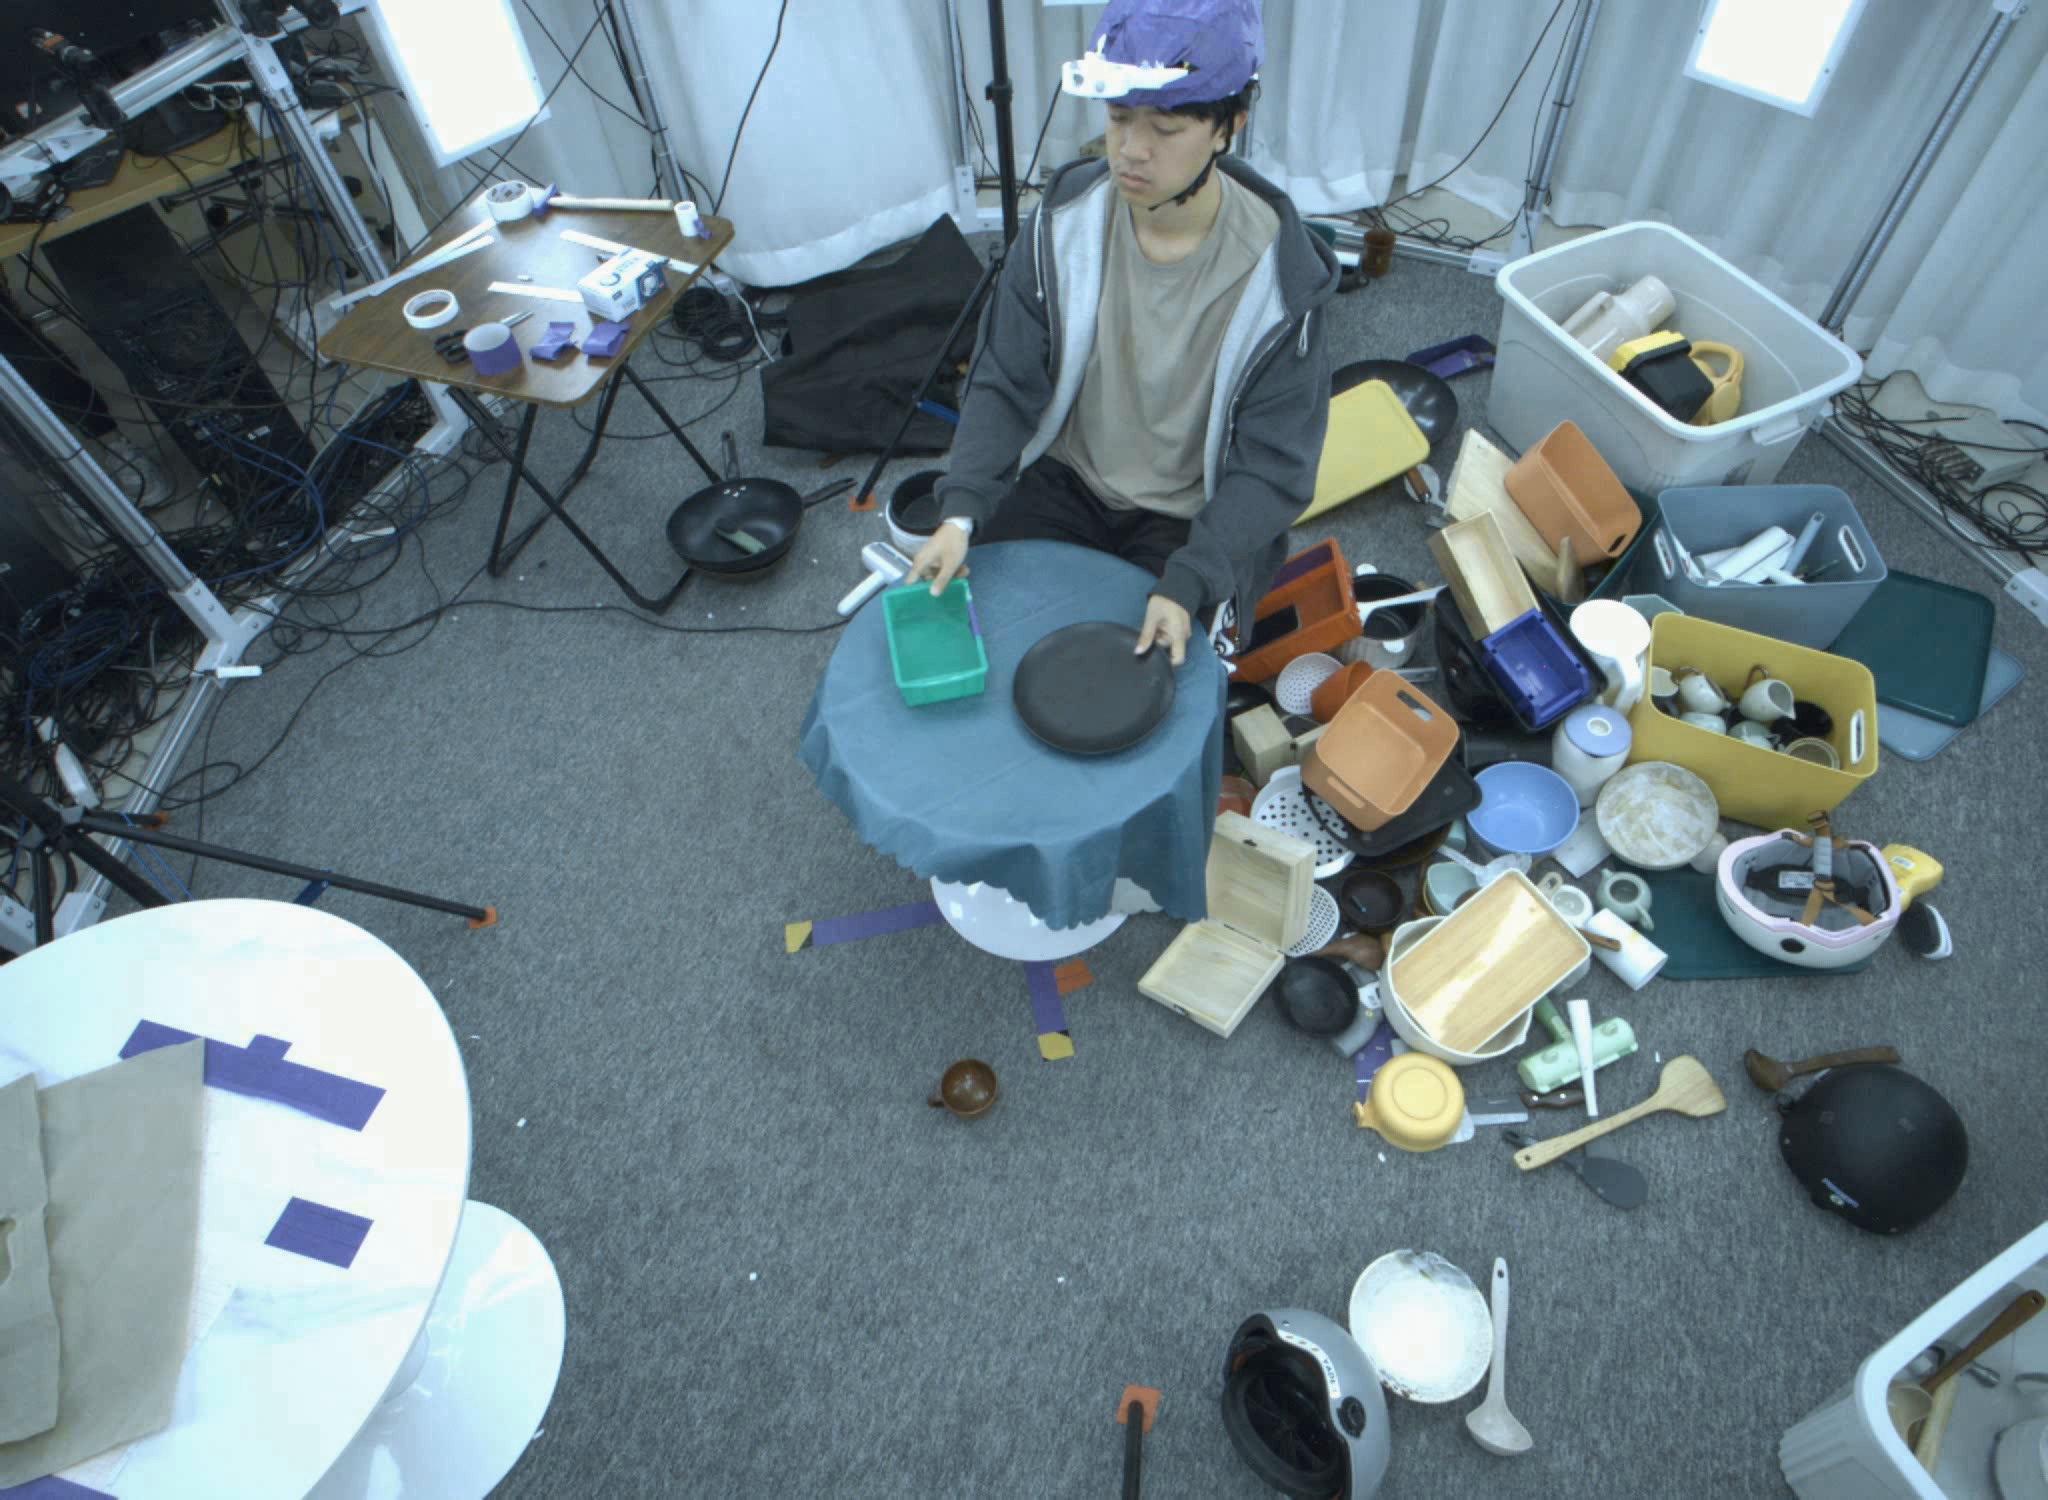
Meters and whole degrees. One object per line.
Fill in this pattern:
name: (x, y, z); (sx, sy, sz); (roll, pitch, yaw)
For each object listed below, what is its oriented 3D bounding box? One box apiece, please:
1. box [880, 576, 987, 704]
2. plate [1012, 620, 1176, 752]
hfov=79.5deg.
box: (-0.138, -0.166, 1.874); (0.139, 0.066, 0.207); (-10, 53, -7)
plate: (0.104, -0.093, 1.831); (0.243, 0.024, 0.242); (-2, 57, 5)
